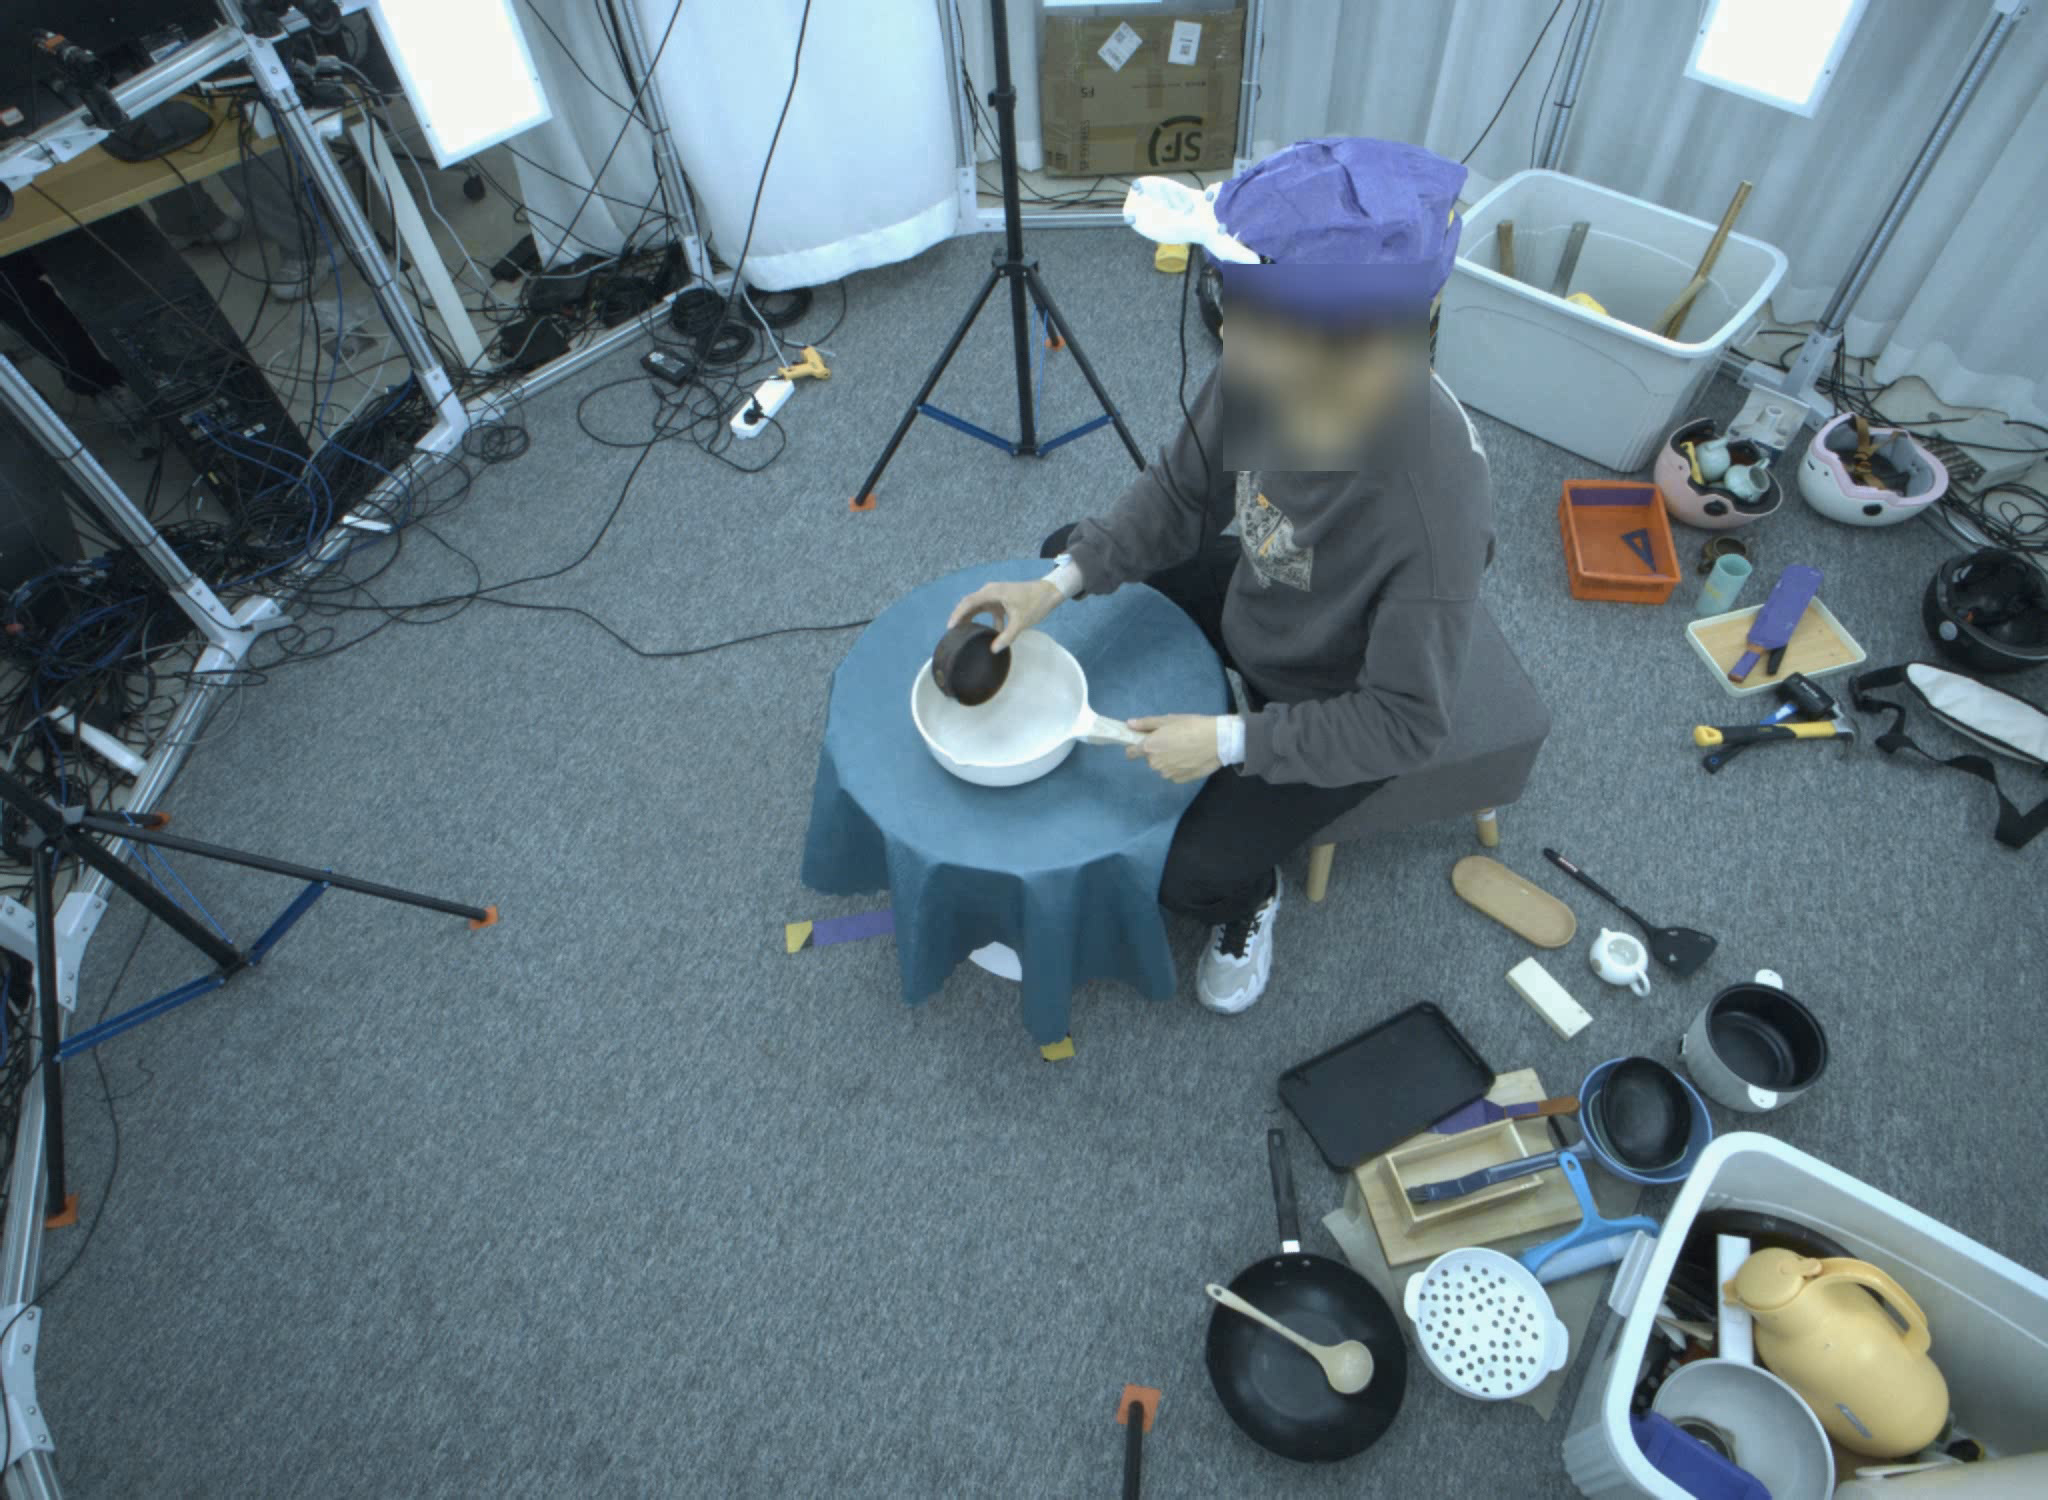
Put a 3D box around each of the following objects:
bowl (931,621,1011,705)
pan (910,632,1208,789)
[{"bbox_3d":[-0.084,-0.128,1.735,0.068,0.120,0.119,29,60,36],"label":"bowl"},{"bbox_3d":[0.049,-0.028,1.743,0.430,0.103,0.263,19,55,14],"label":"pan"}]
